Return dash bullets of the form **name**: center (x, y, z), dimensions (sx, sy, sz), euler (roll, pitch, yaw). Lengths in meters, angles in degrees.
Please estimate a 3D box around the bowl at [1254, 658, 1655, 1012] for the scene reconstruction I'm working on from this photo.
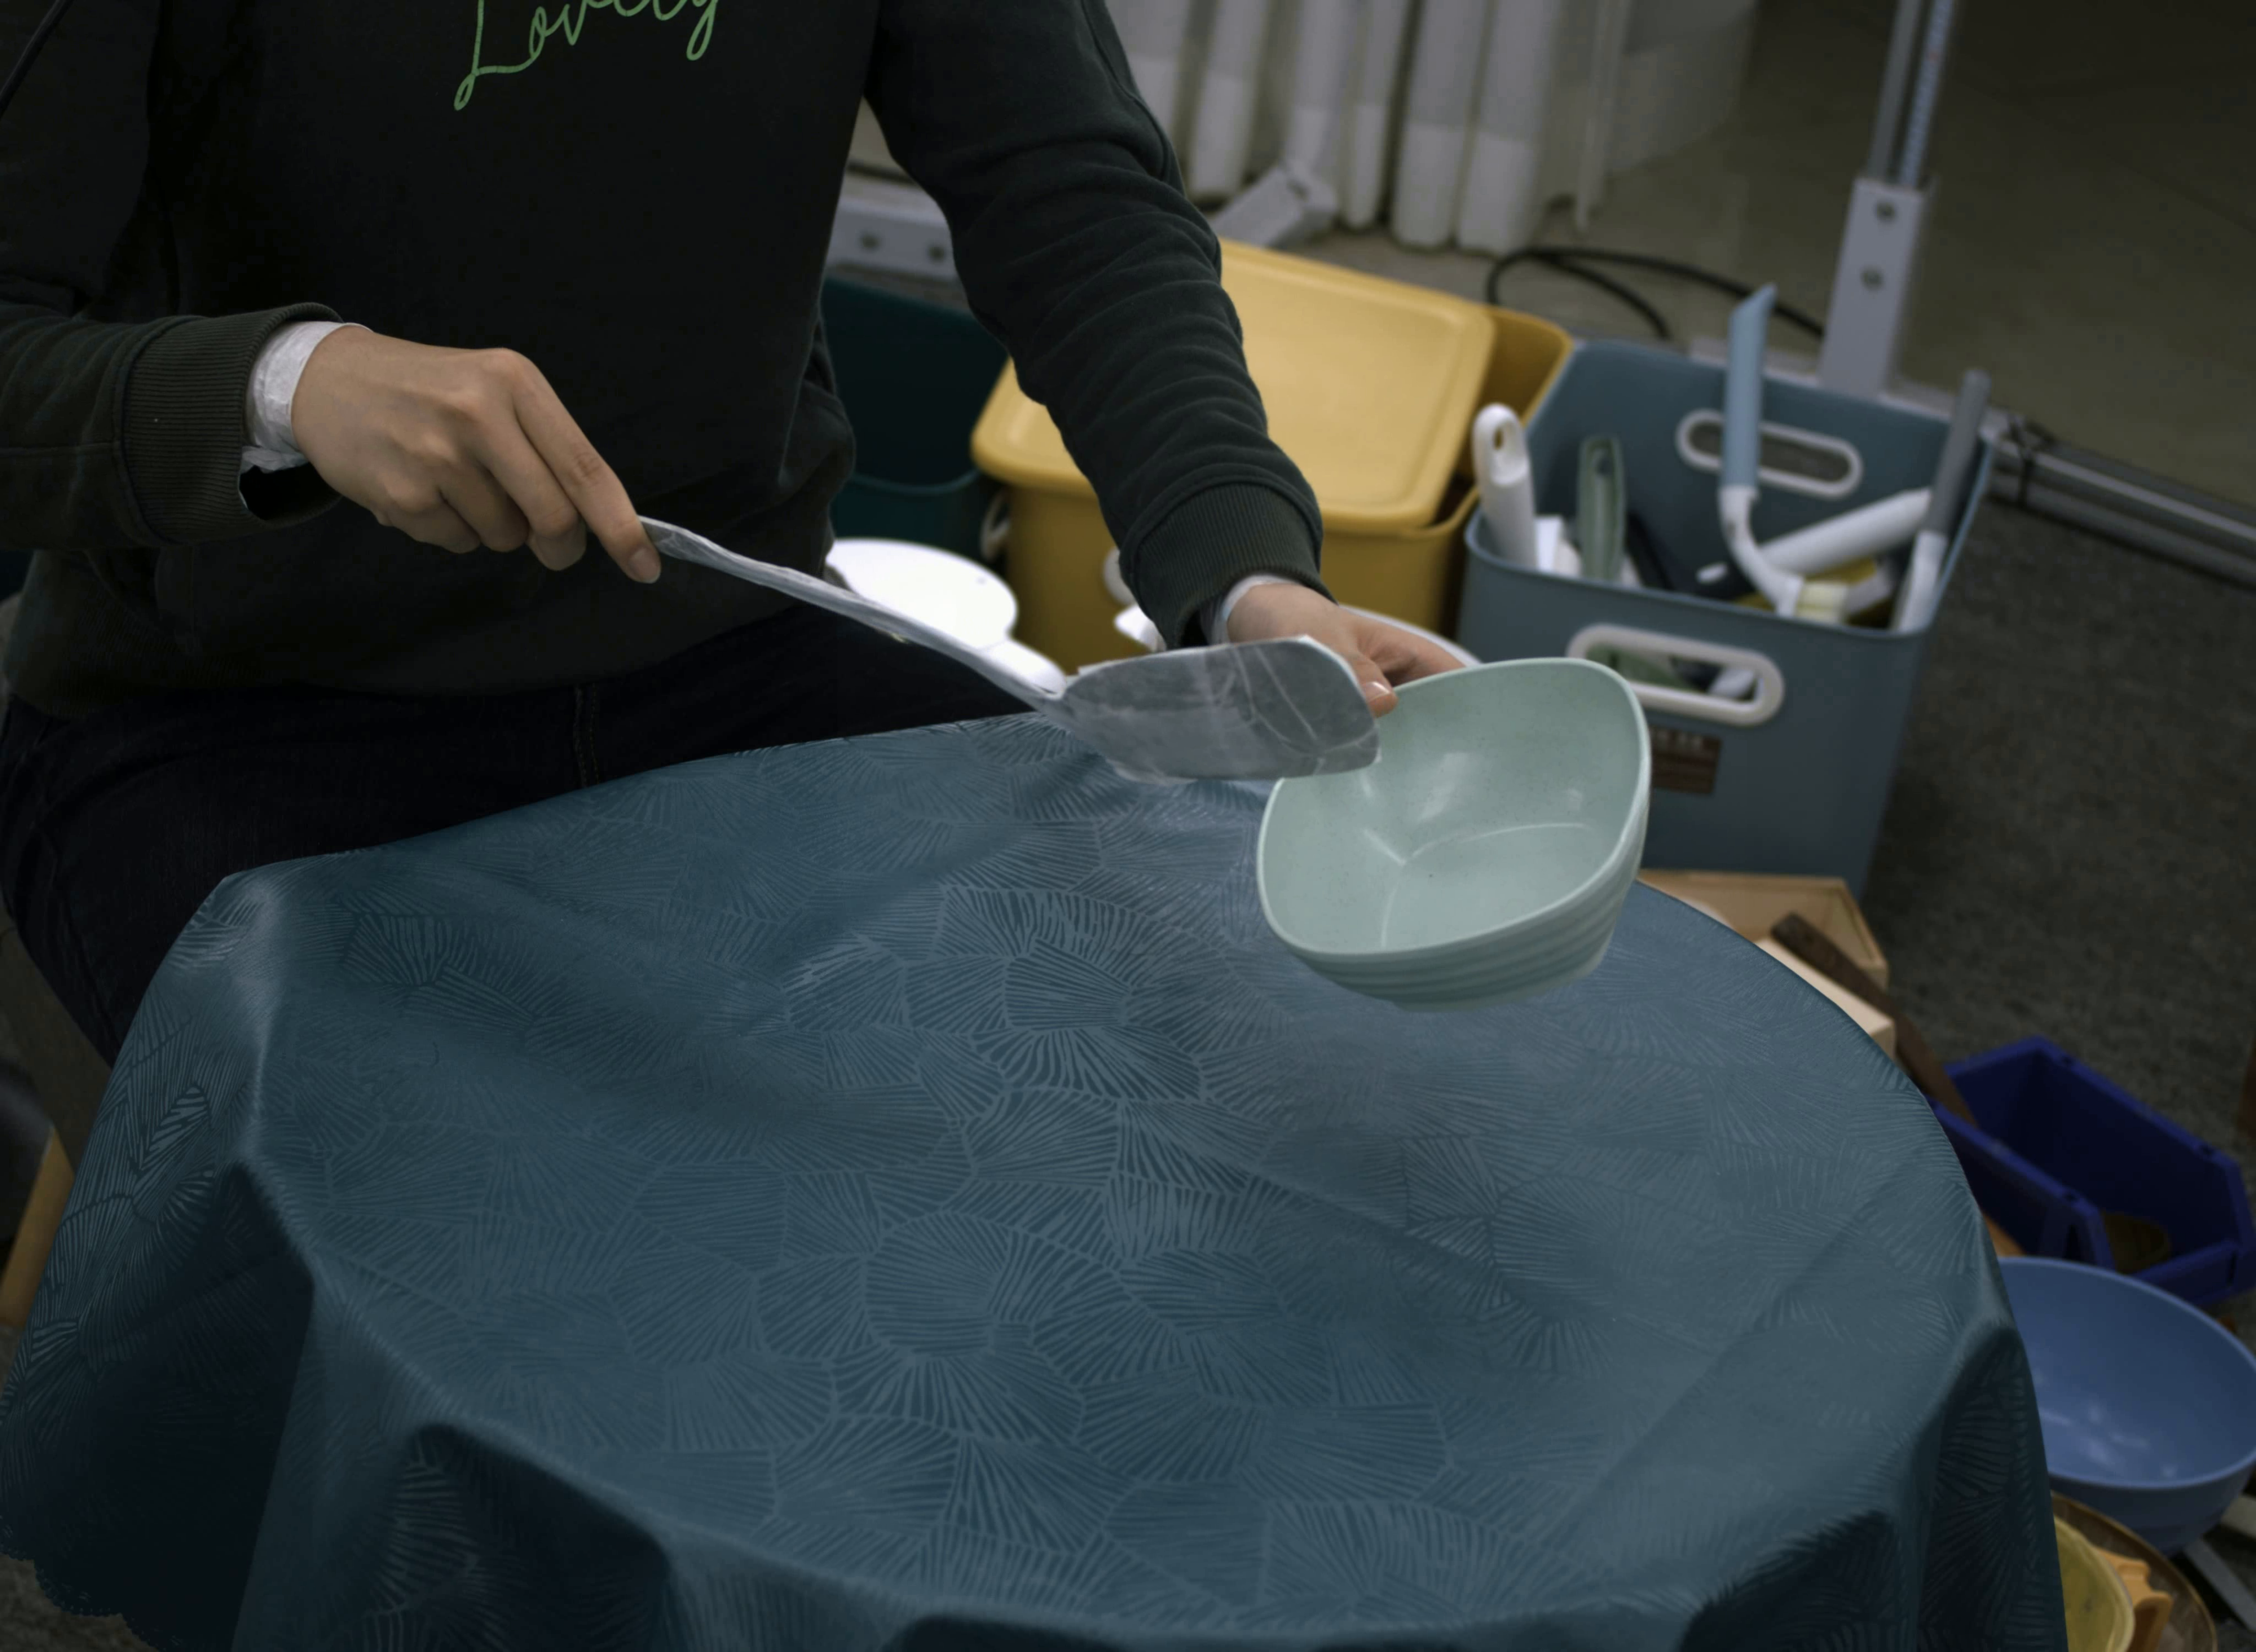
- **bowl**: center (0.117, 0.012, 1.799), dimensions (0.151, 0.058, 0.152), euler (-14, 40, 12)

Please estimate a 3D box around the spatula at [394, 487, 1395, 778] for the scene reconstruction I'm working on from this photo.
- **spatula**: center (-0.086, -0.075, 1.757), dimensions (0.366, 0.098, 0.045), euler (19, 72, 23)
